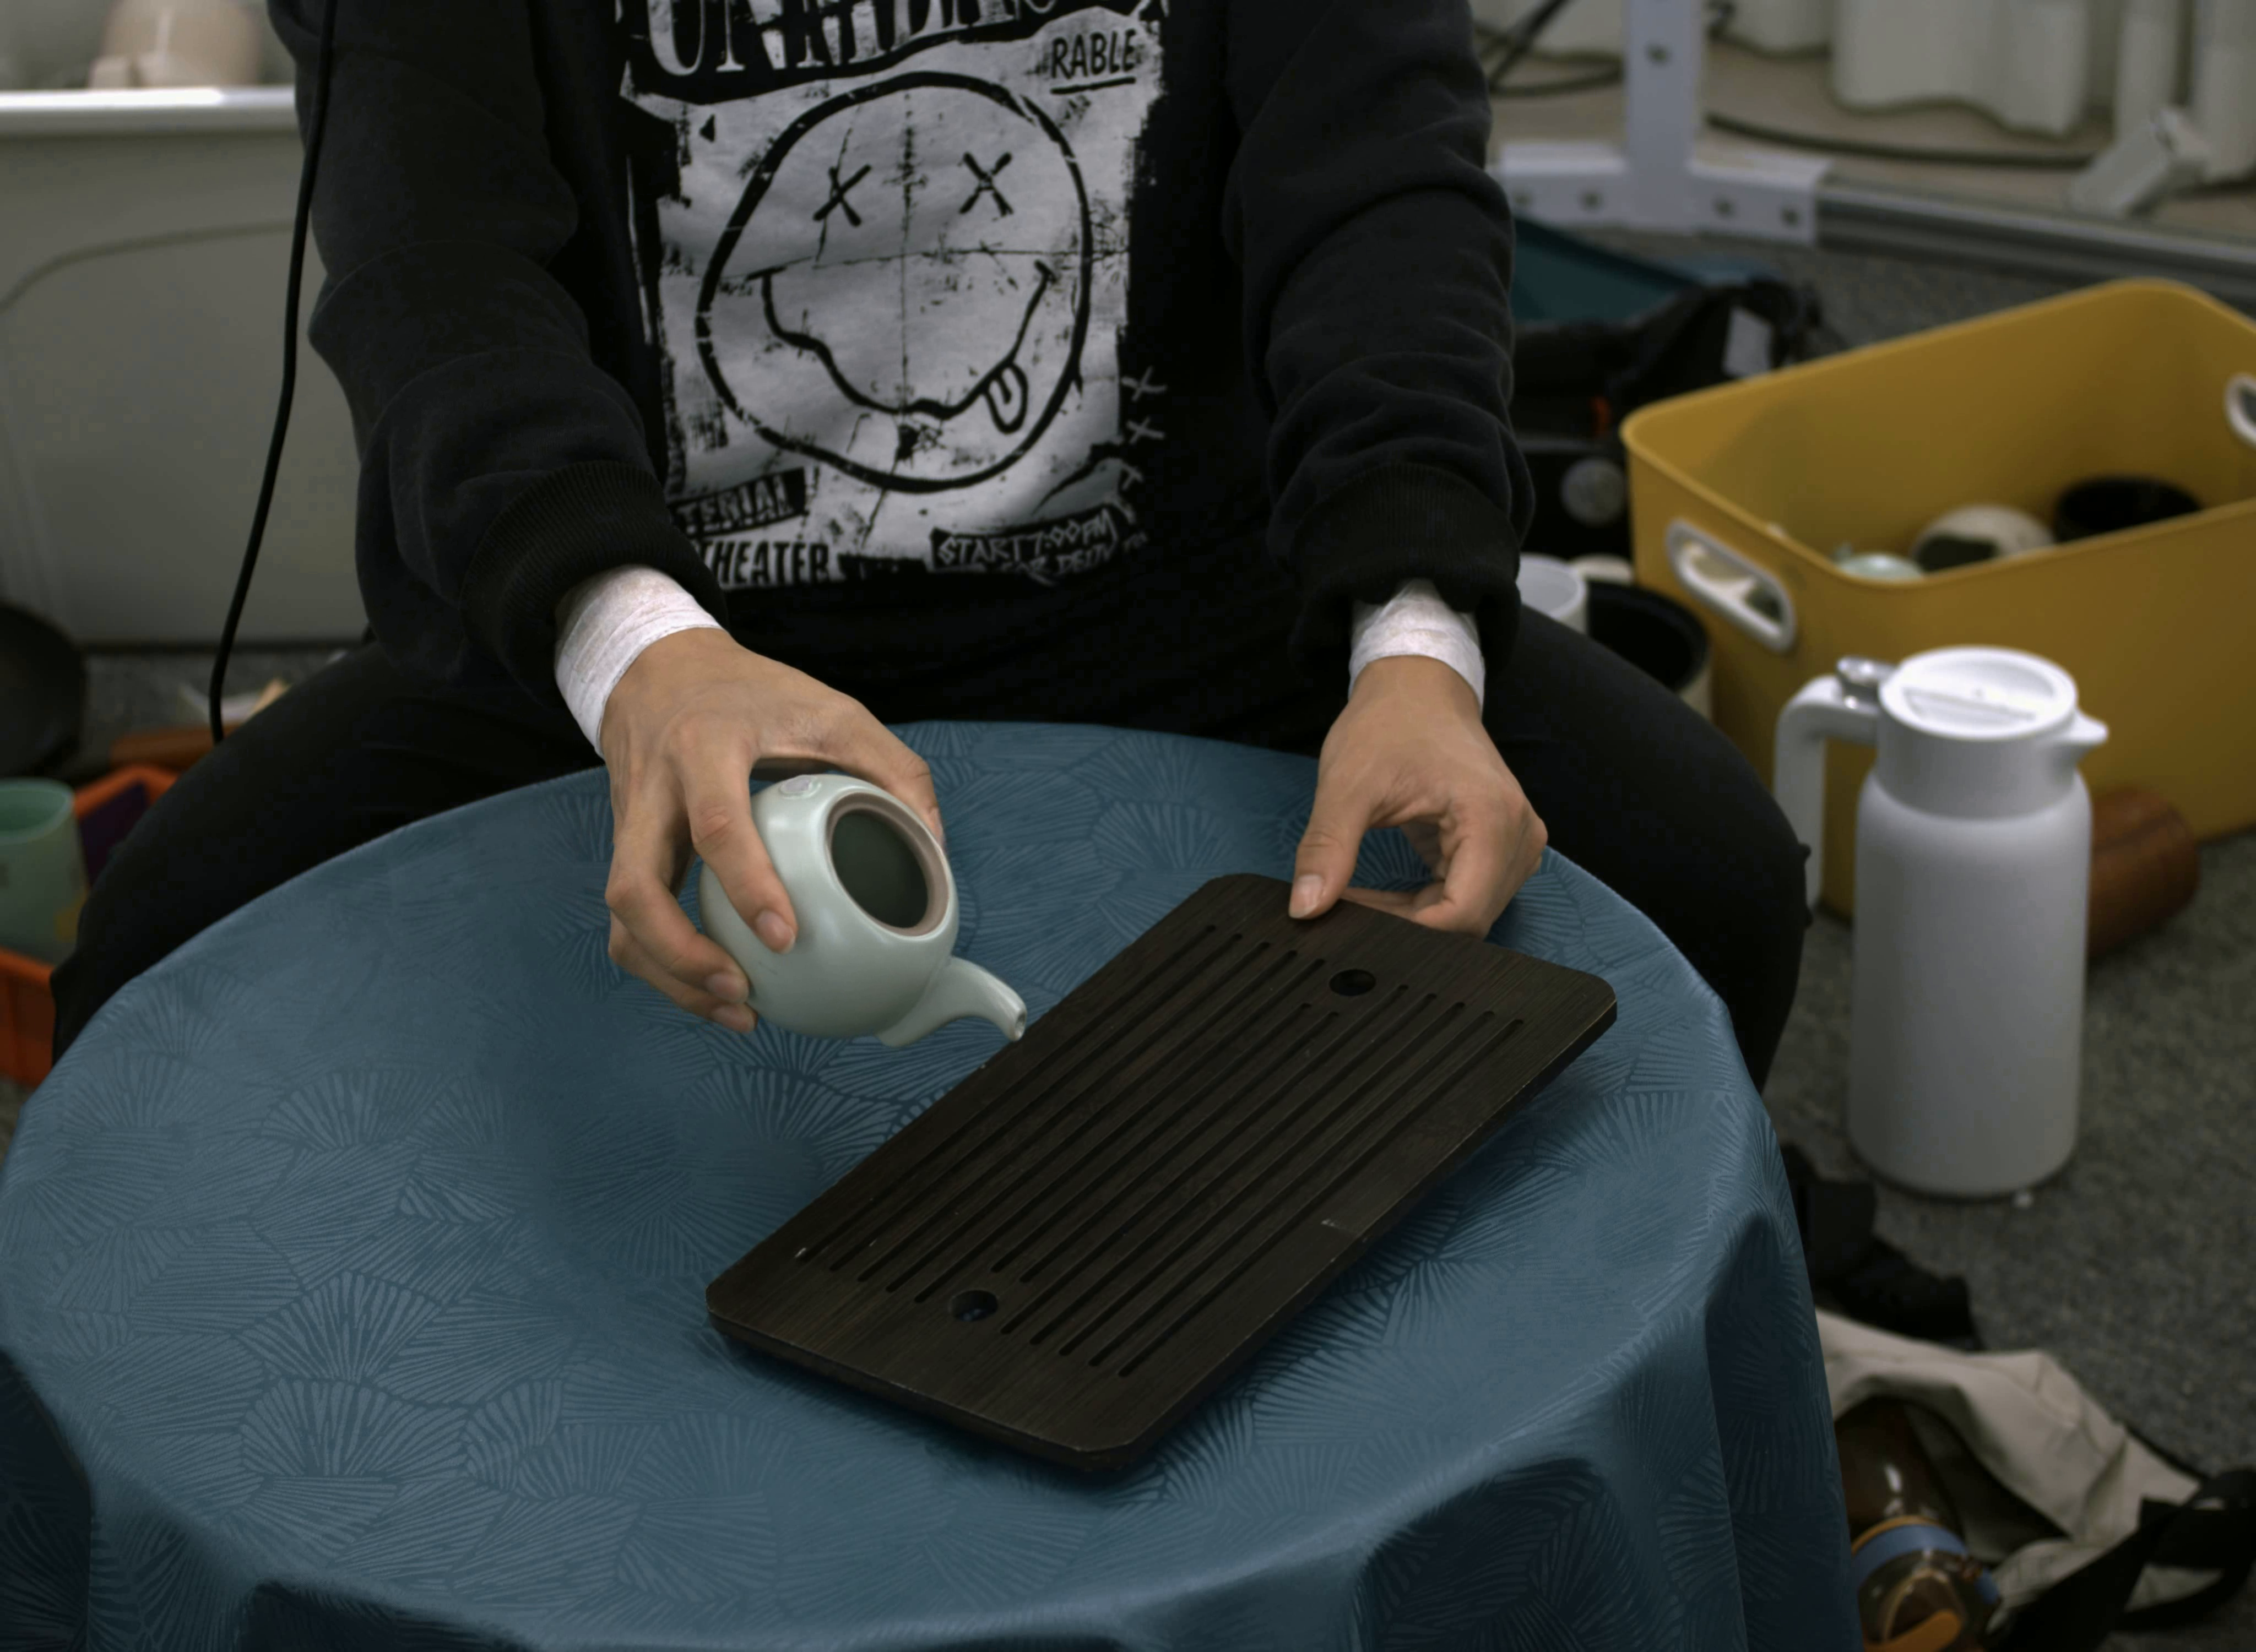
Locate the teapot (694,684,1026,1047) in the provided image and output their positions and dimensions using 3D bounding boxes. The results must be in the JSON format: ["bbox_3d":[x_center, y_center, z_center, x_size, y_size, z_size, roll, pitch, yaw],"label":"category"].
[{"bbox_3d":[-0.098,0.025,1.836,0.073,0.144,0.090,-32,5,34],"label":"teapot"}]

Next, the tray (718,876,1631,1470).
[{"bbox_3d":[0.020,0.110,1.843,0.169,0.018,0.311,16,36,32],"label":"tray"}]
